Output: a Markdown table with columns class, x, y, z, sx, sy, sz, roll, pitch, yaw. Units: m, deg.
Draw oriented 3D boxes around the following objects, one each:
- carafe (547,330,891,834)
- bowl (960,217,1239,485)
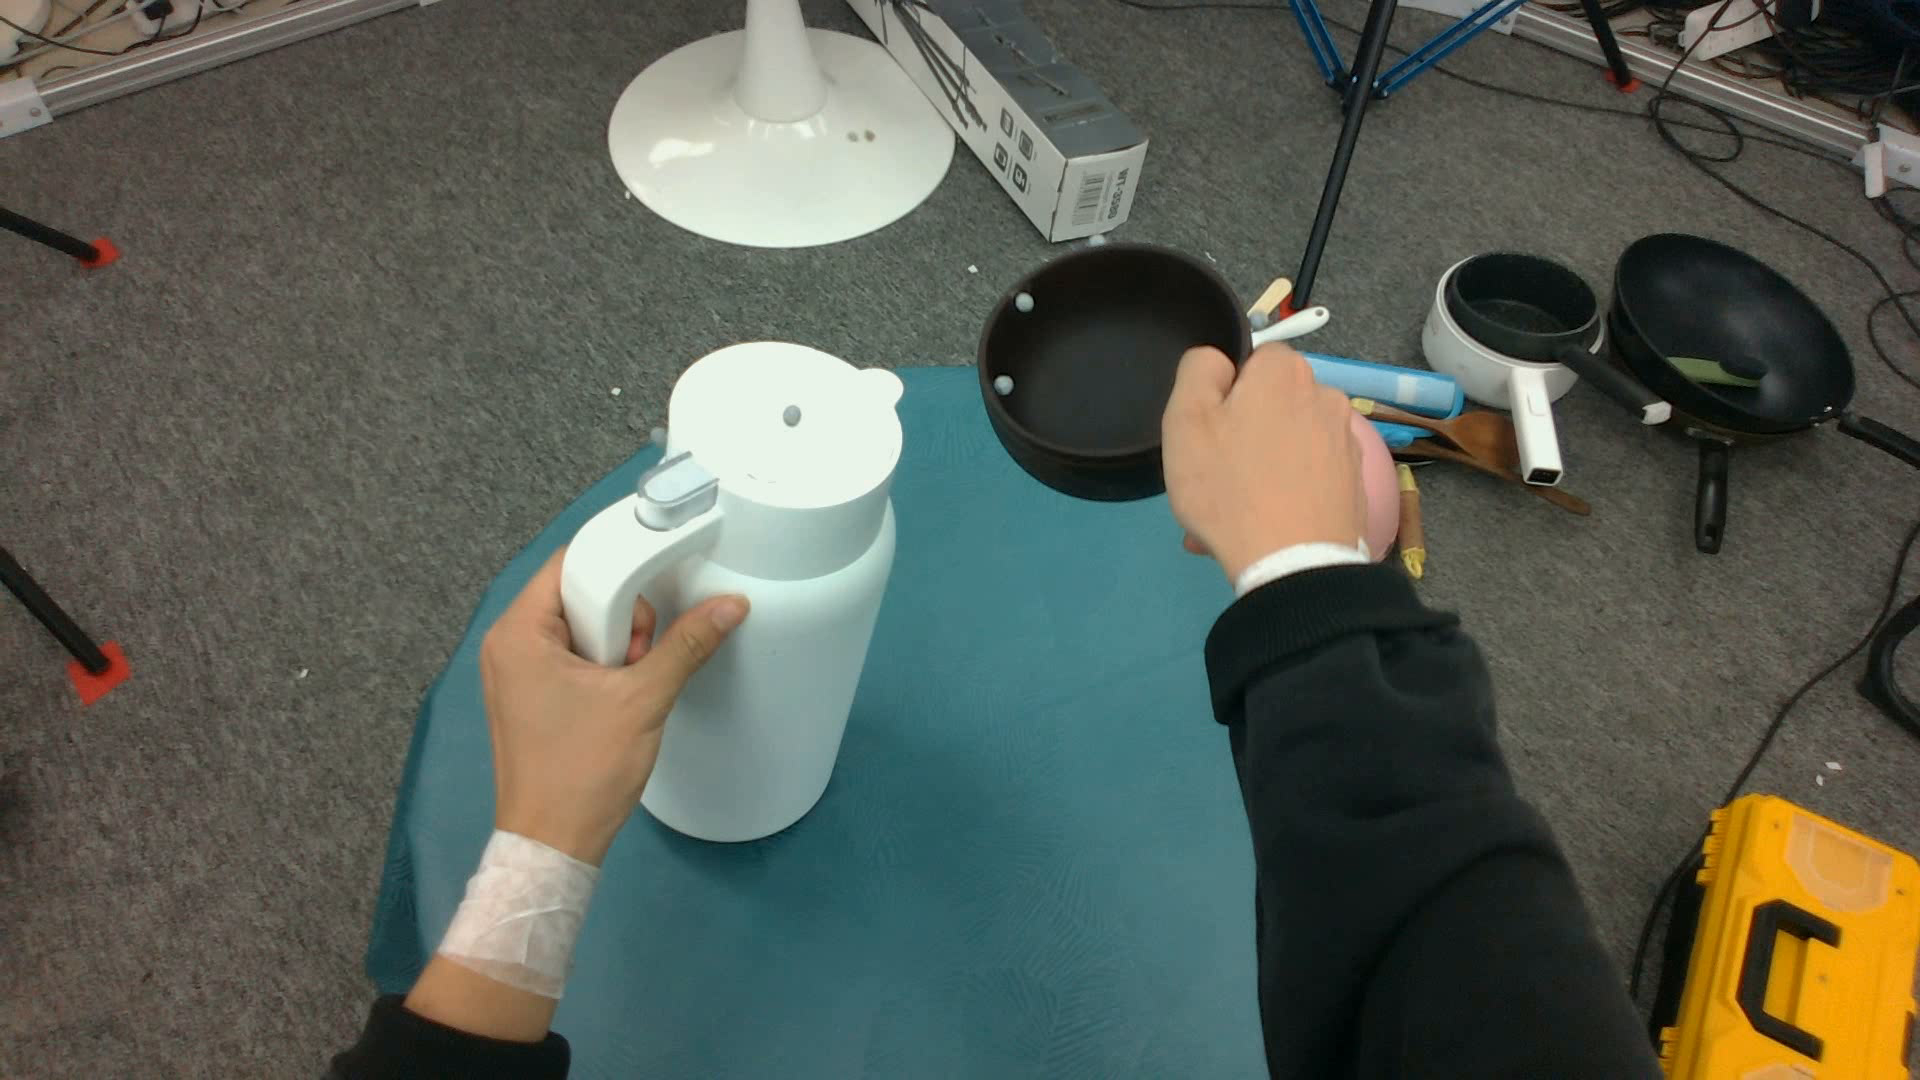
| class | x | y | z | sx | sy | sz | roll | pitch | yaw |
| --- | --- | --- | --- | --- | --- | --- | --- | --- | --- |
| carafe | -0.118 | 0.038 | 0.661 | 0.124 | 0.267 | 0.173 | 41 | 50 | 16 |
| bowl | 0.063 | -0.075 | 0.604 | 0.118 | 0.069 | 0.118 | -5 | 61 | 9 |
